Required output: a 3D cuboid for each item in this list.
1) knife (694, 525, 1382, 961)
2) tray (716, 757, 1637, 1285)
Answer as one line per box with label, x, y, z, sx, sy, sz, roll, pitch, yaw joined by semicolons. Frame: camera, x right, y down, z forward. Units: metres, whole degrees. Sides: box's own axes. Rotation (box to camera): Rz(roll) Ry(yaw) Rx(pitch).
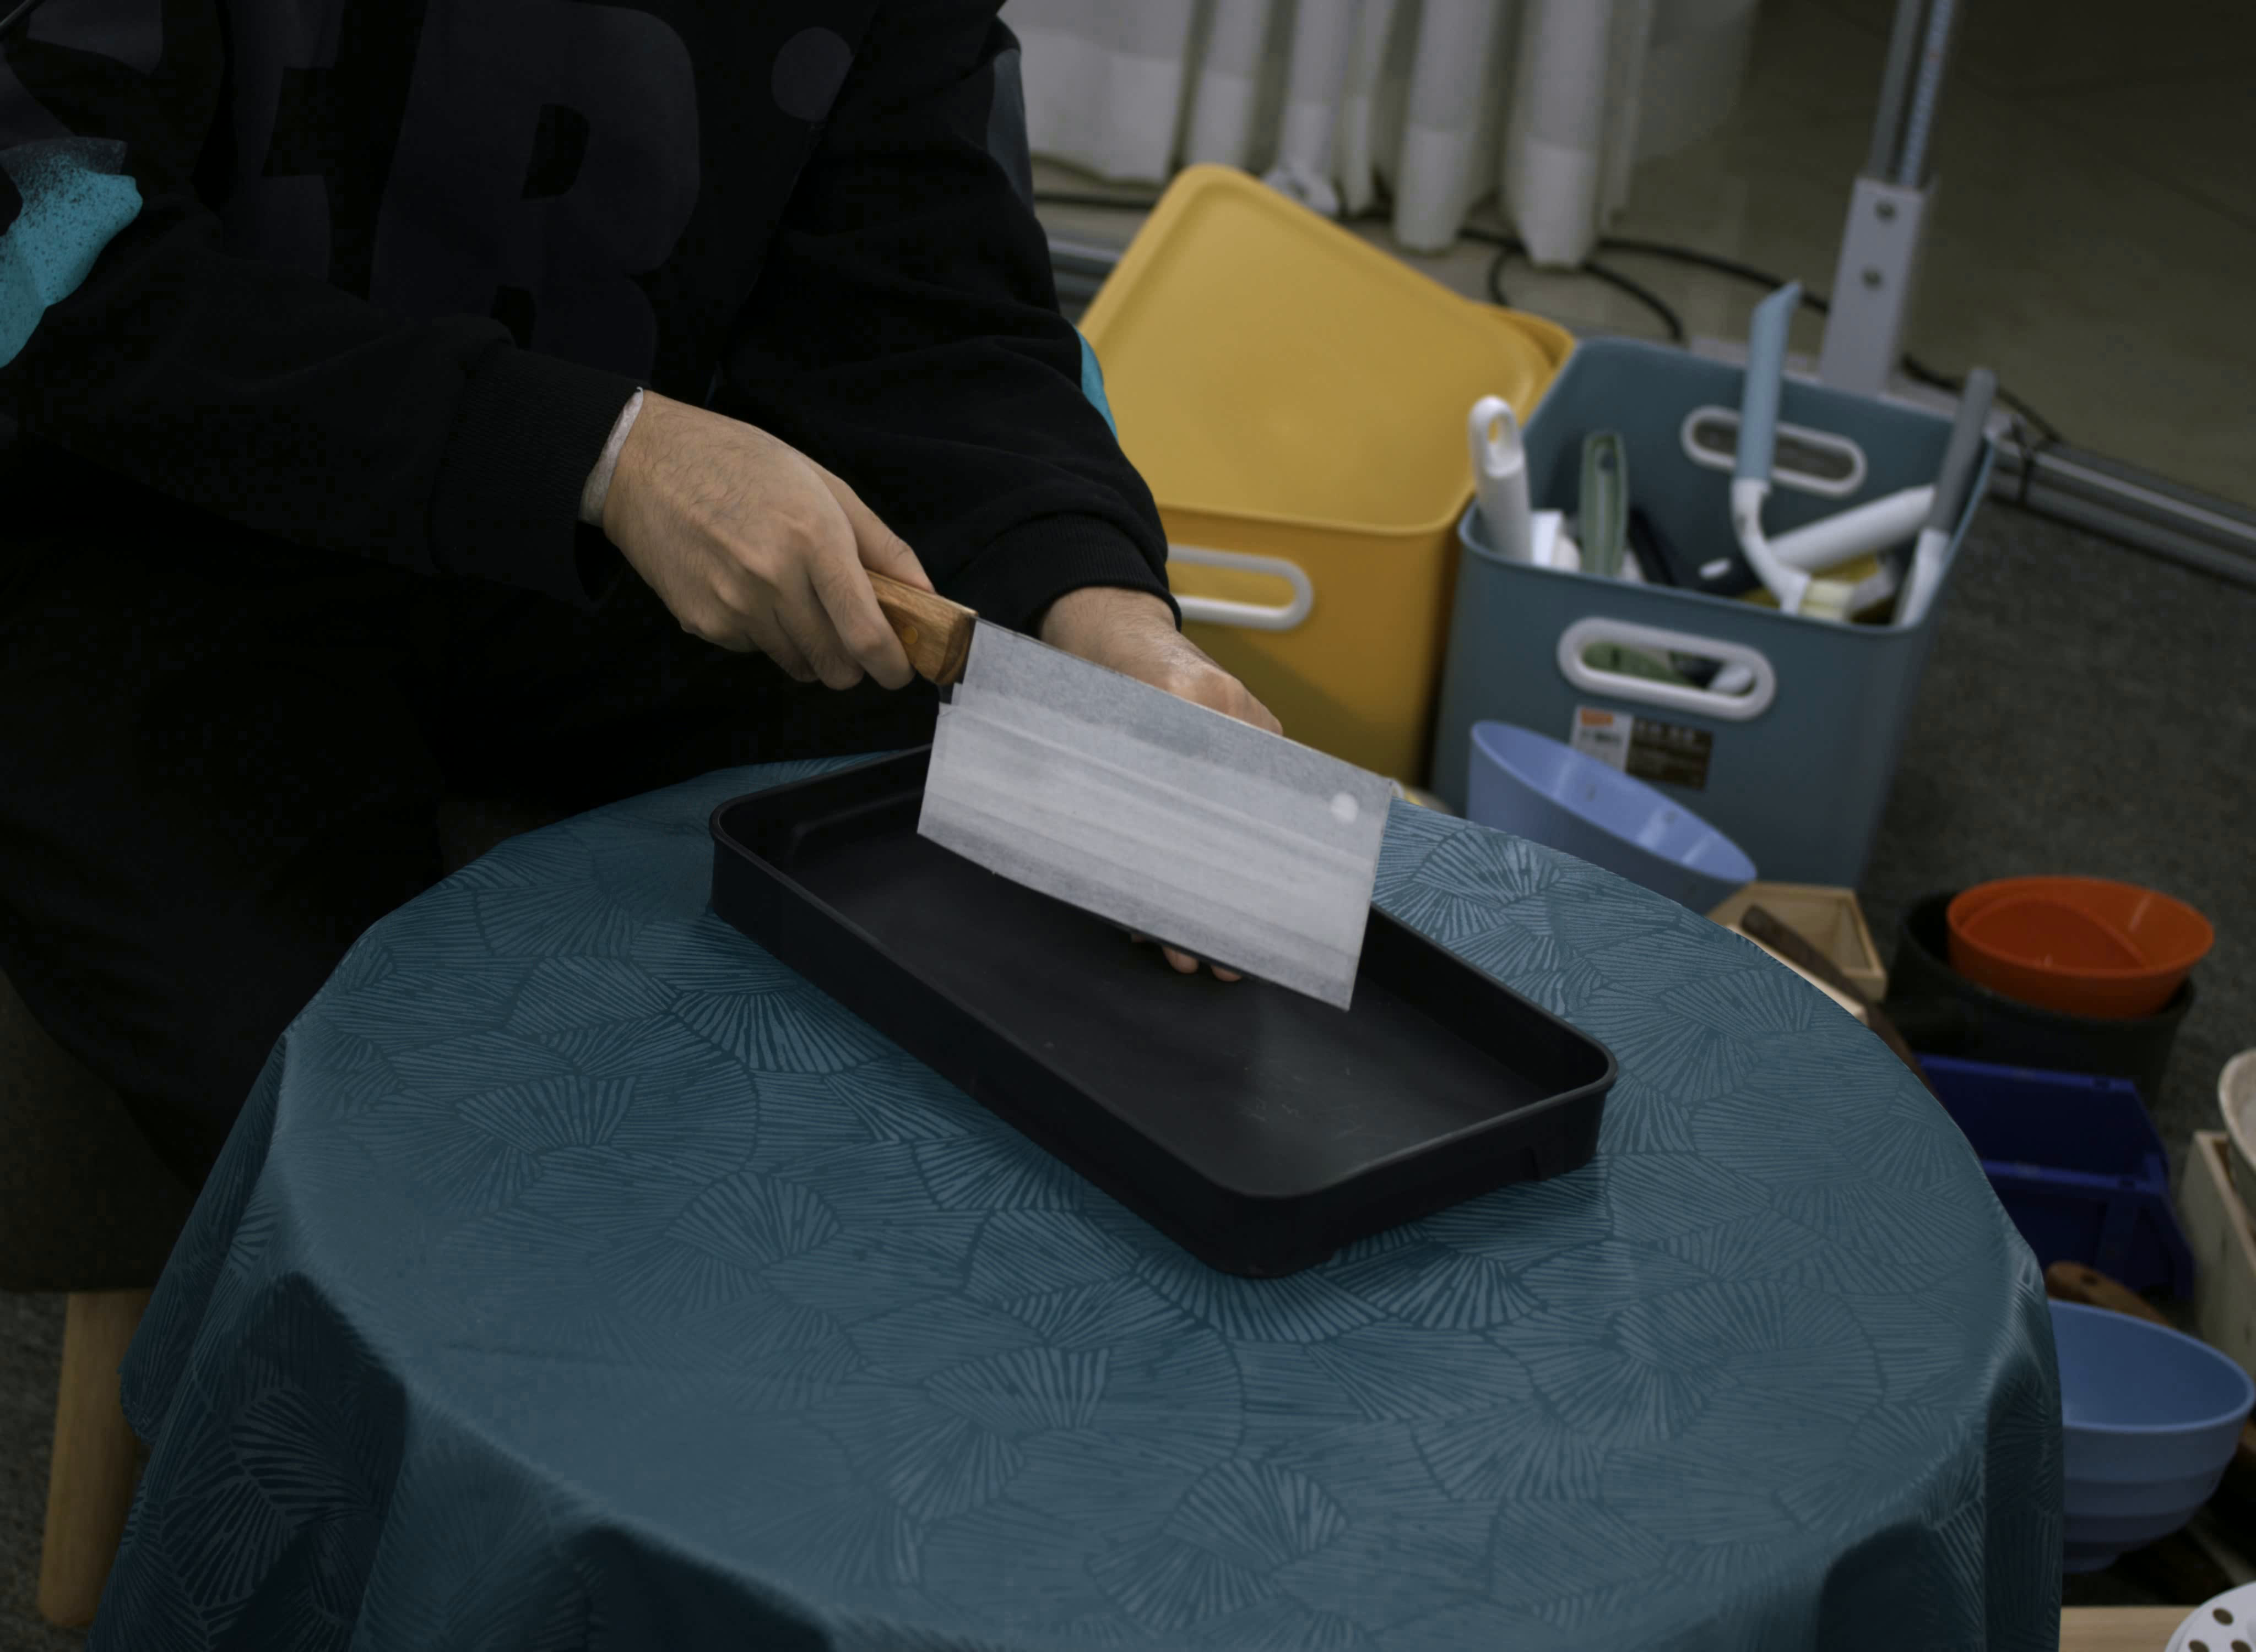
knife;-0.039;-0.028;1.919;0.307;0.093;0.021;22;24;30
tray;0.012;0.057;1.896;0.183;0.037;0.320;-18;35;-38
